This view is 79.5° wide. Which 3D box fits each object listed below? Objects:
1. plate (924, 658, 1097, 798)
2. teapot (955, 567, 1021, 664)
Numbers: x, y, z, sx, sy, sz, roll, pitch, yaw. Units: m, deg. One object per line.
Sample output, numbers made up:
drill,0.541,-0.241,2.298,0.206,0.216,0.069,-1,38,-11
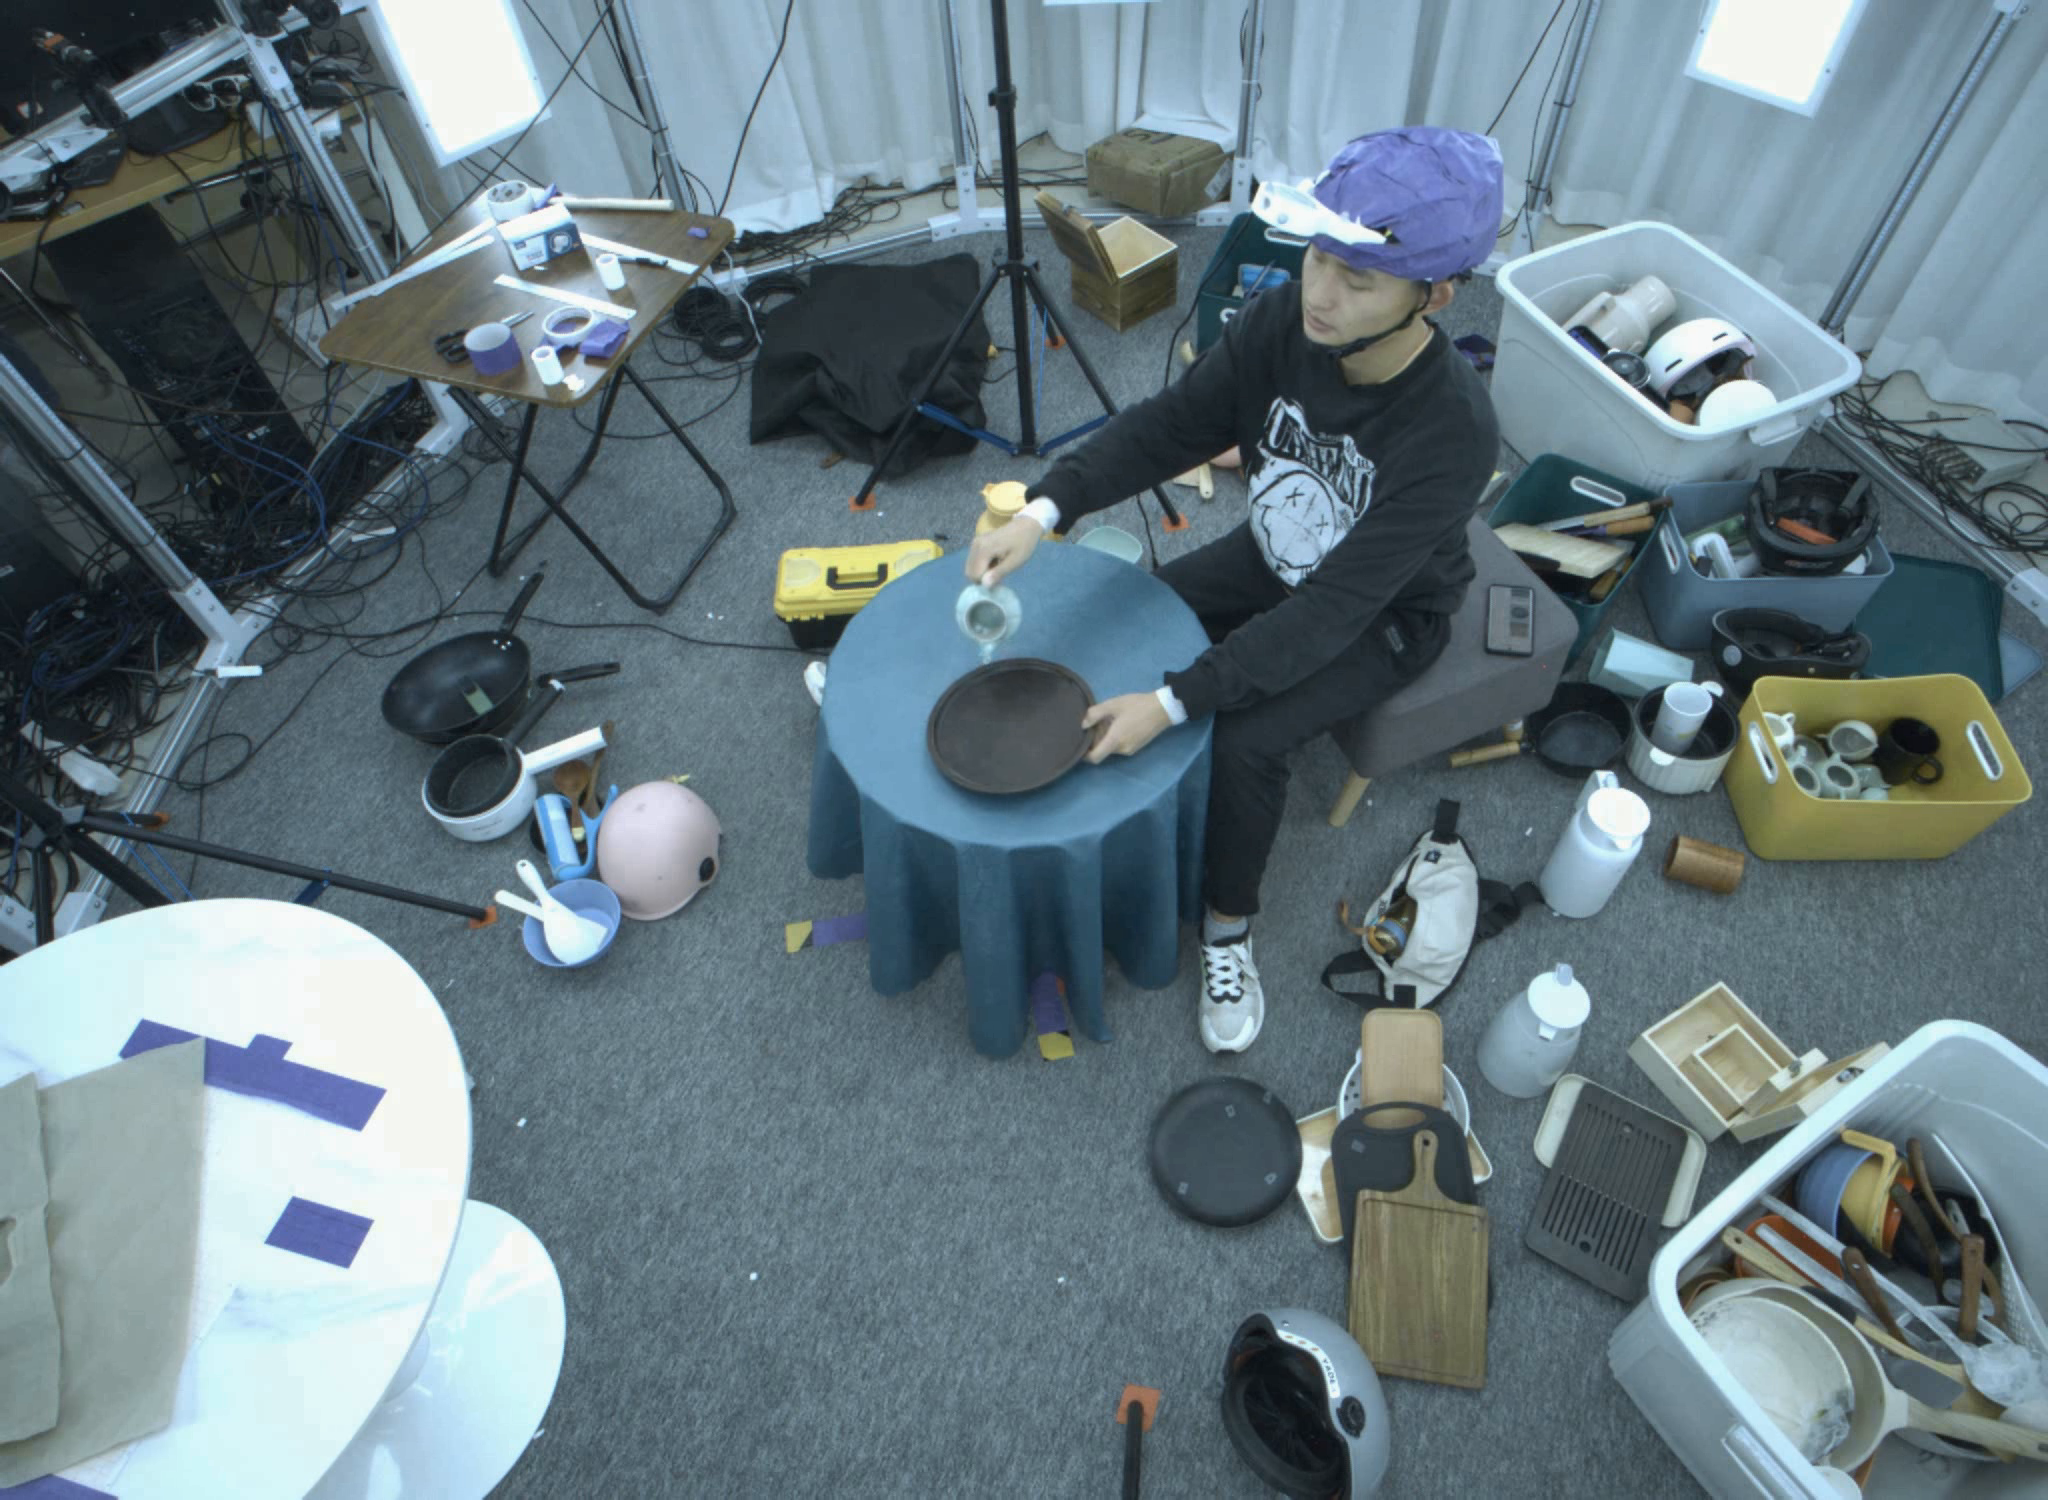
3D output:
plate,-0.018,-0.034,1.778,0.253,0.029,0.252,-5,52,8
teapot,-0.053,-0.196,1.752,0.096,0.138,0.061,0,23,5
